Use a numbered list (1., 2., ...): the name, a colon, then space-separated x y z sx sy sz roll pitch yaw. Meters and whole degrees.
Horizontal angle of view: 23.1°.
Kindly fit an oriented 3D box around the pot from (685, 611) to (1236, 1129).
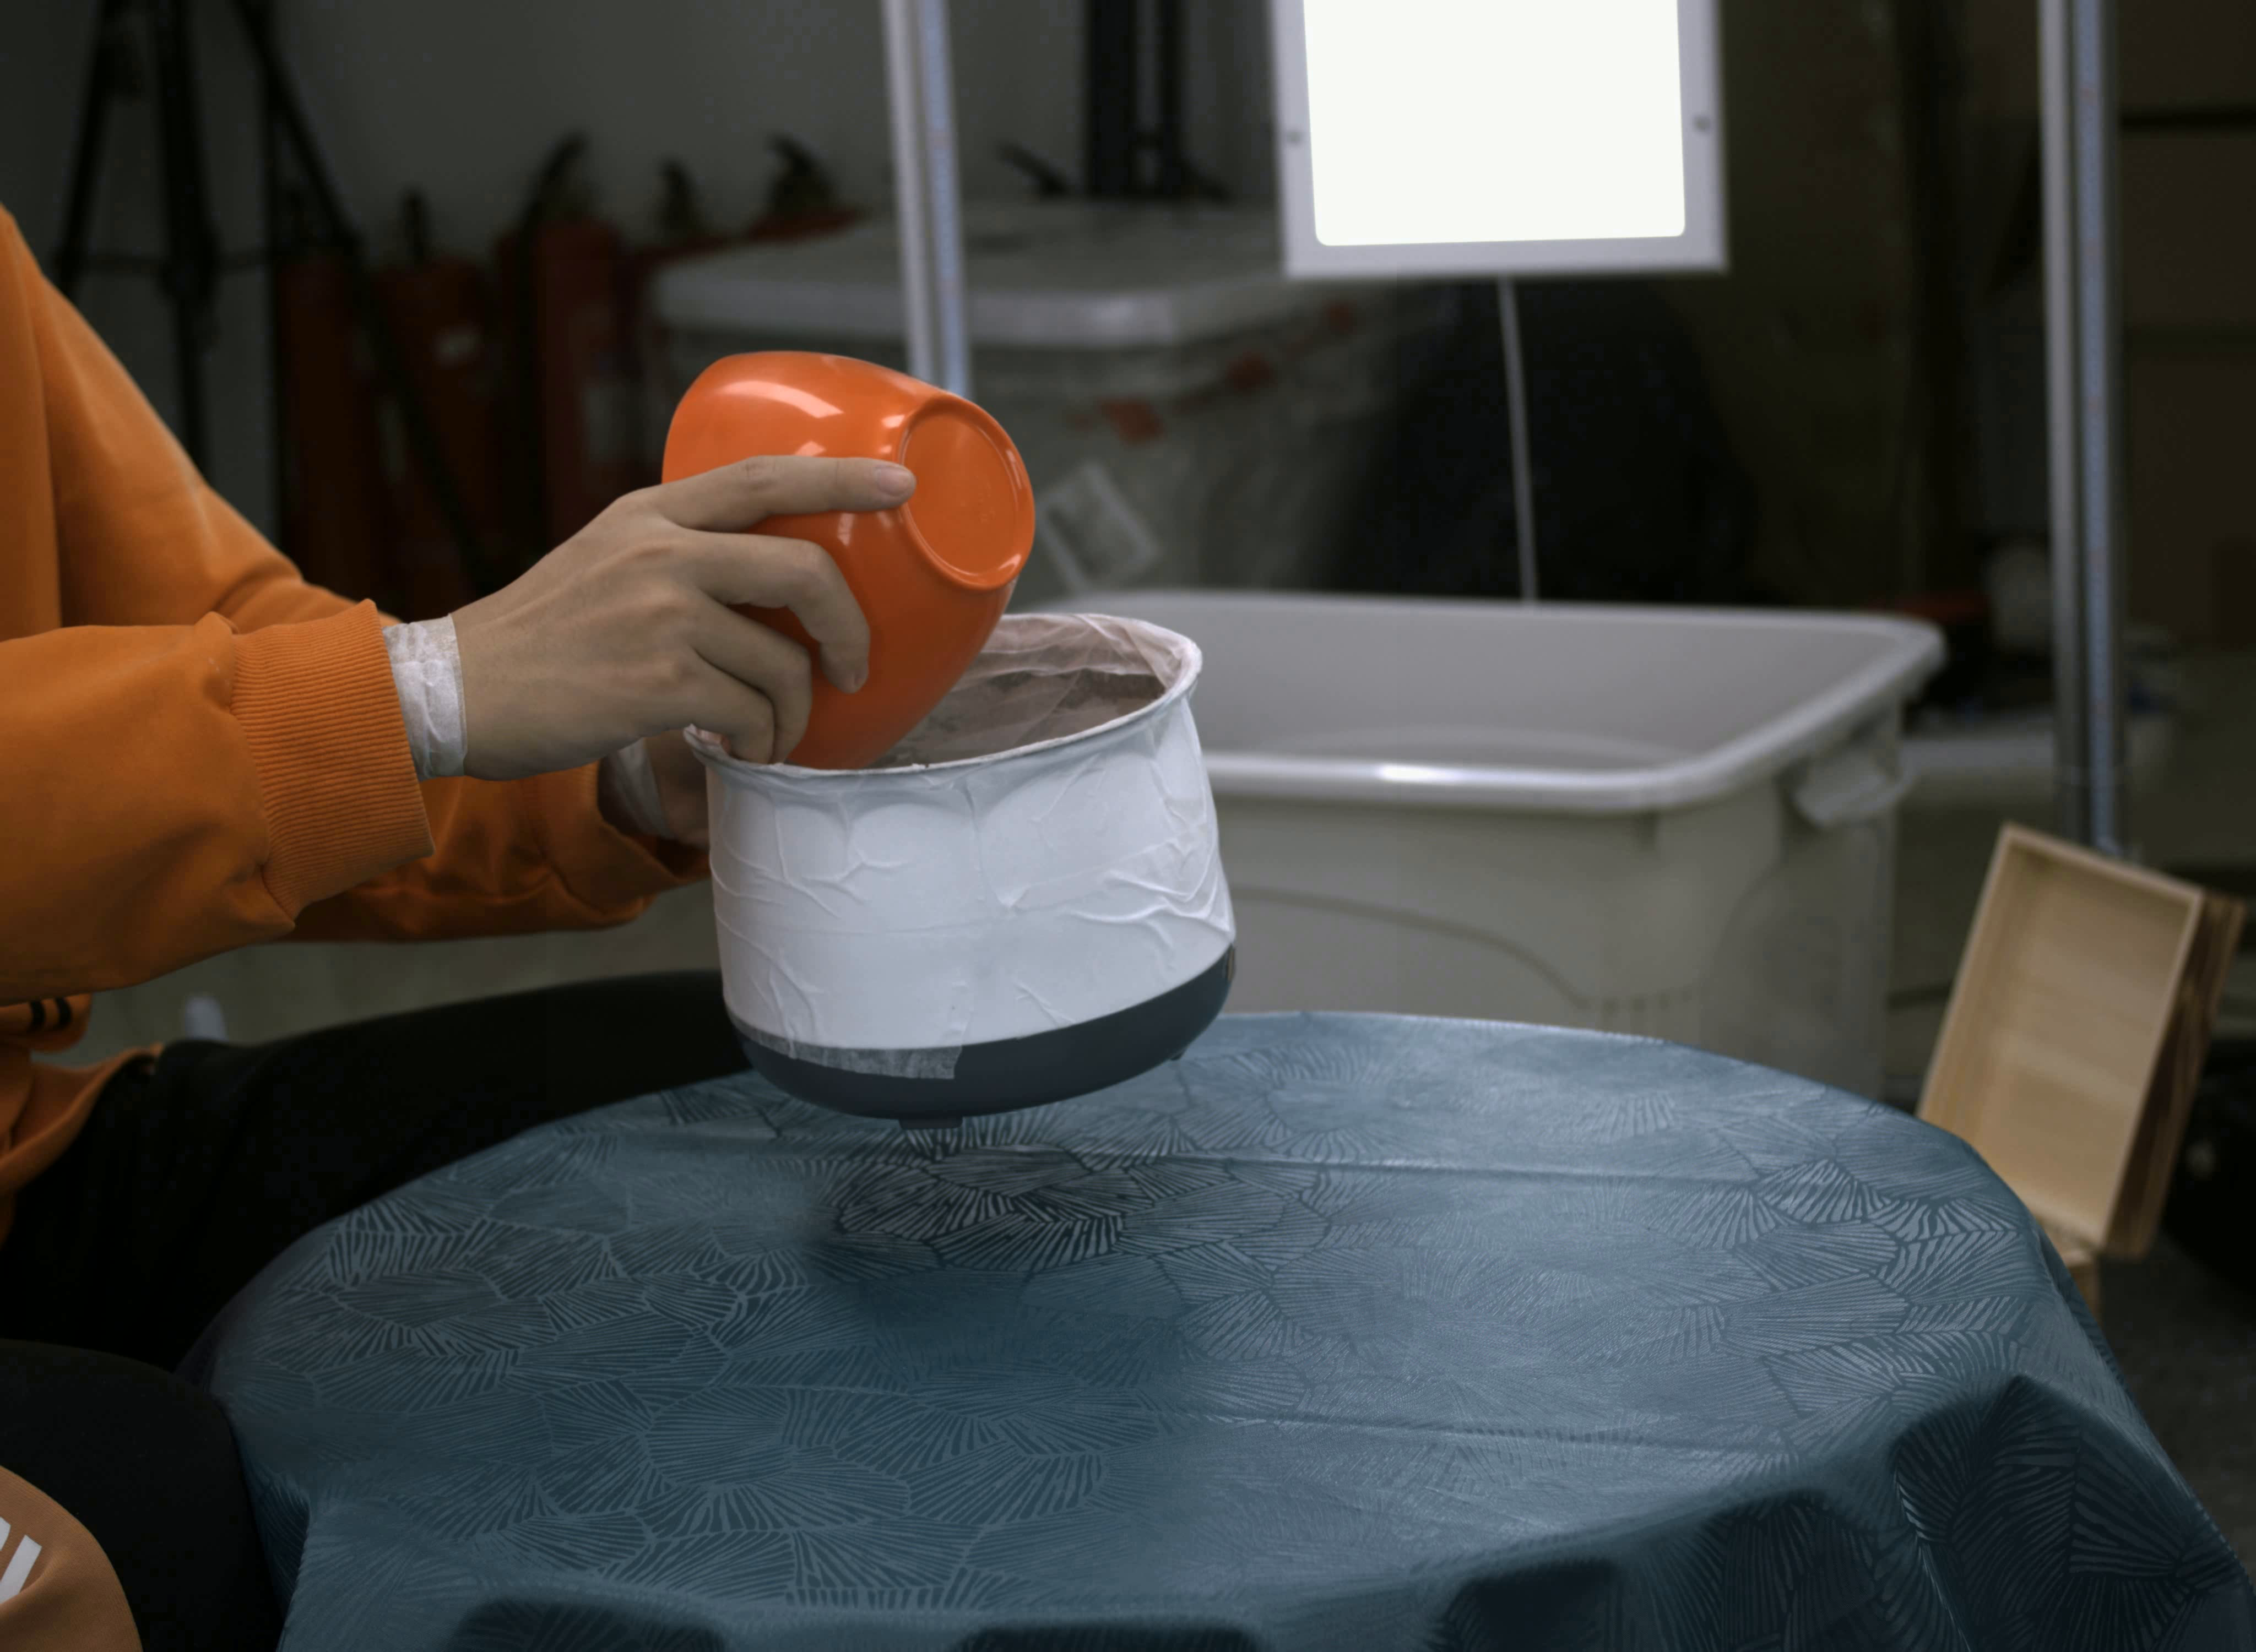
1. pot: -0.069 0.008 1.893 0.175 0.137 0.238 -16 19 -26

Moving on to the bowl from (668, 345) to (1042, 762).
1. bowl: -0.080 -0.100 1.843 0.107 0.148 0.144 -17 3 40
